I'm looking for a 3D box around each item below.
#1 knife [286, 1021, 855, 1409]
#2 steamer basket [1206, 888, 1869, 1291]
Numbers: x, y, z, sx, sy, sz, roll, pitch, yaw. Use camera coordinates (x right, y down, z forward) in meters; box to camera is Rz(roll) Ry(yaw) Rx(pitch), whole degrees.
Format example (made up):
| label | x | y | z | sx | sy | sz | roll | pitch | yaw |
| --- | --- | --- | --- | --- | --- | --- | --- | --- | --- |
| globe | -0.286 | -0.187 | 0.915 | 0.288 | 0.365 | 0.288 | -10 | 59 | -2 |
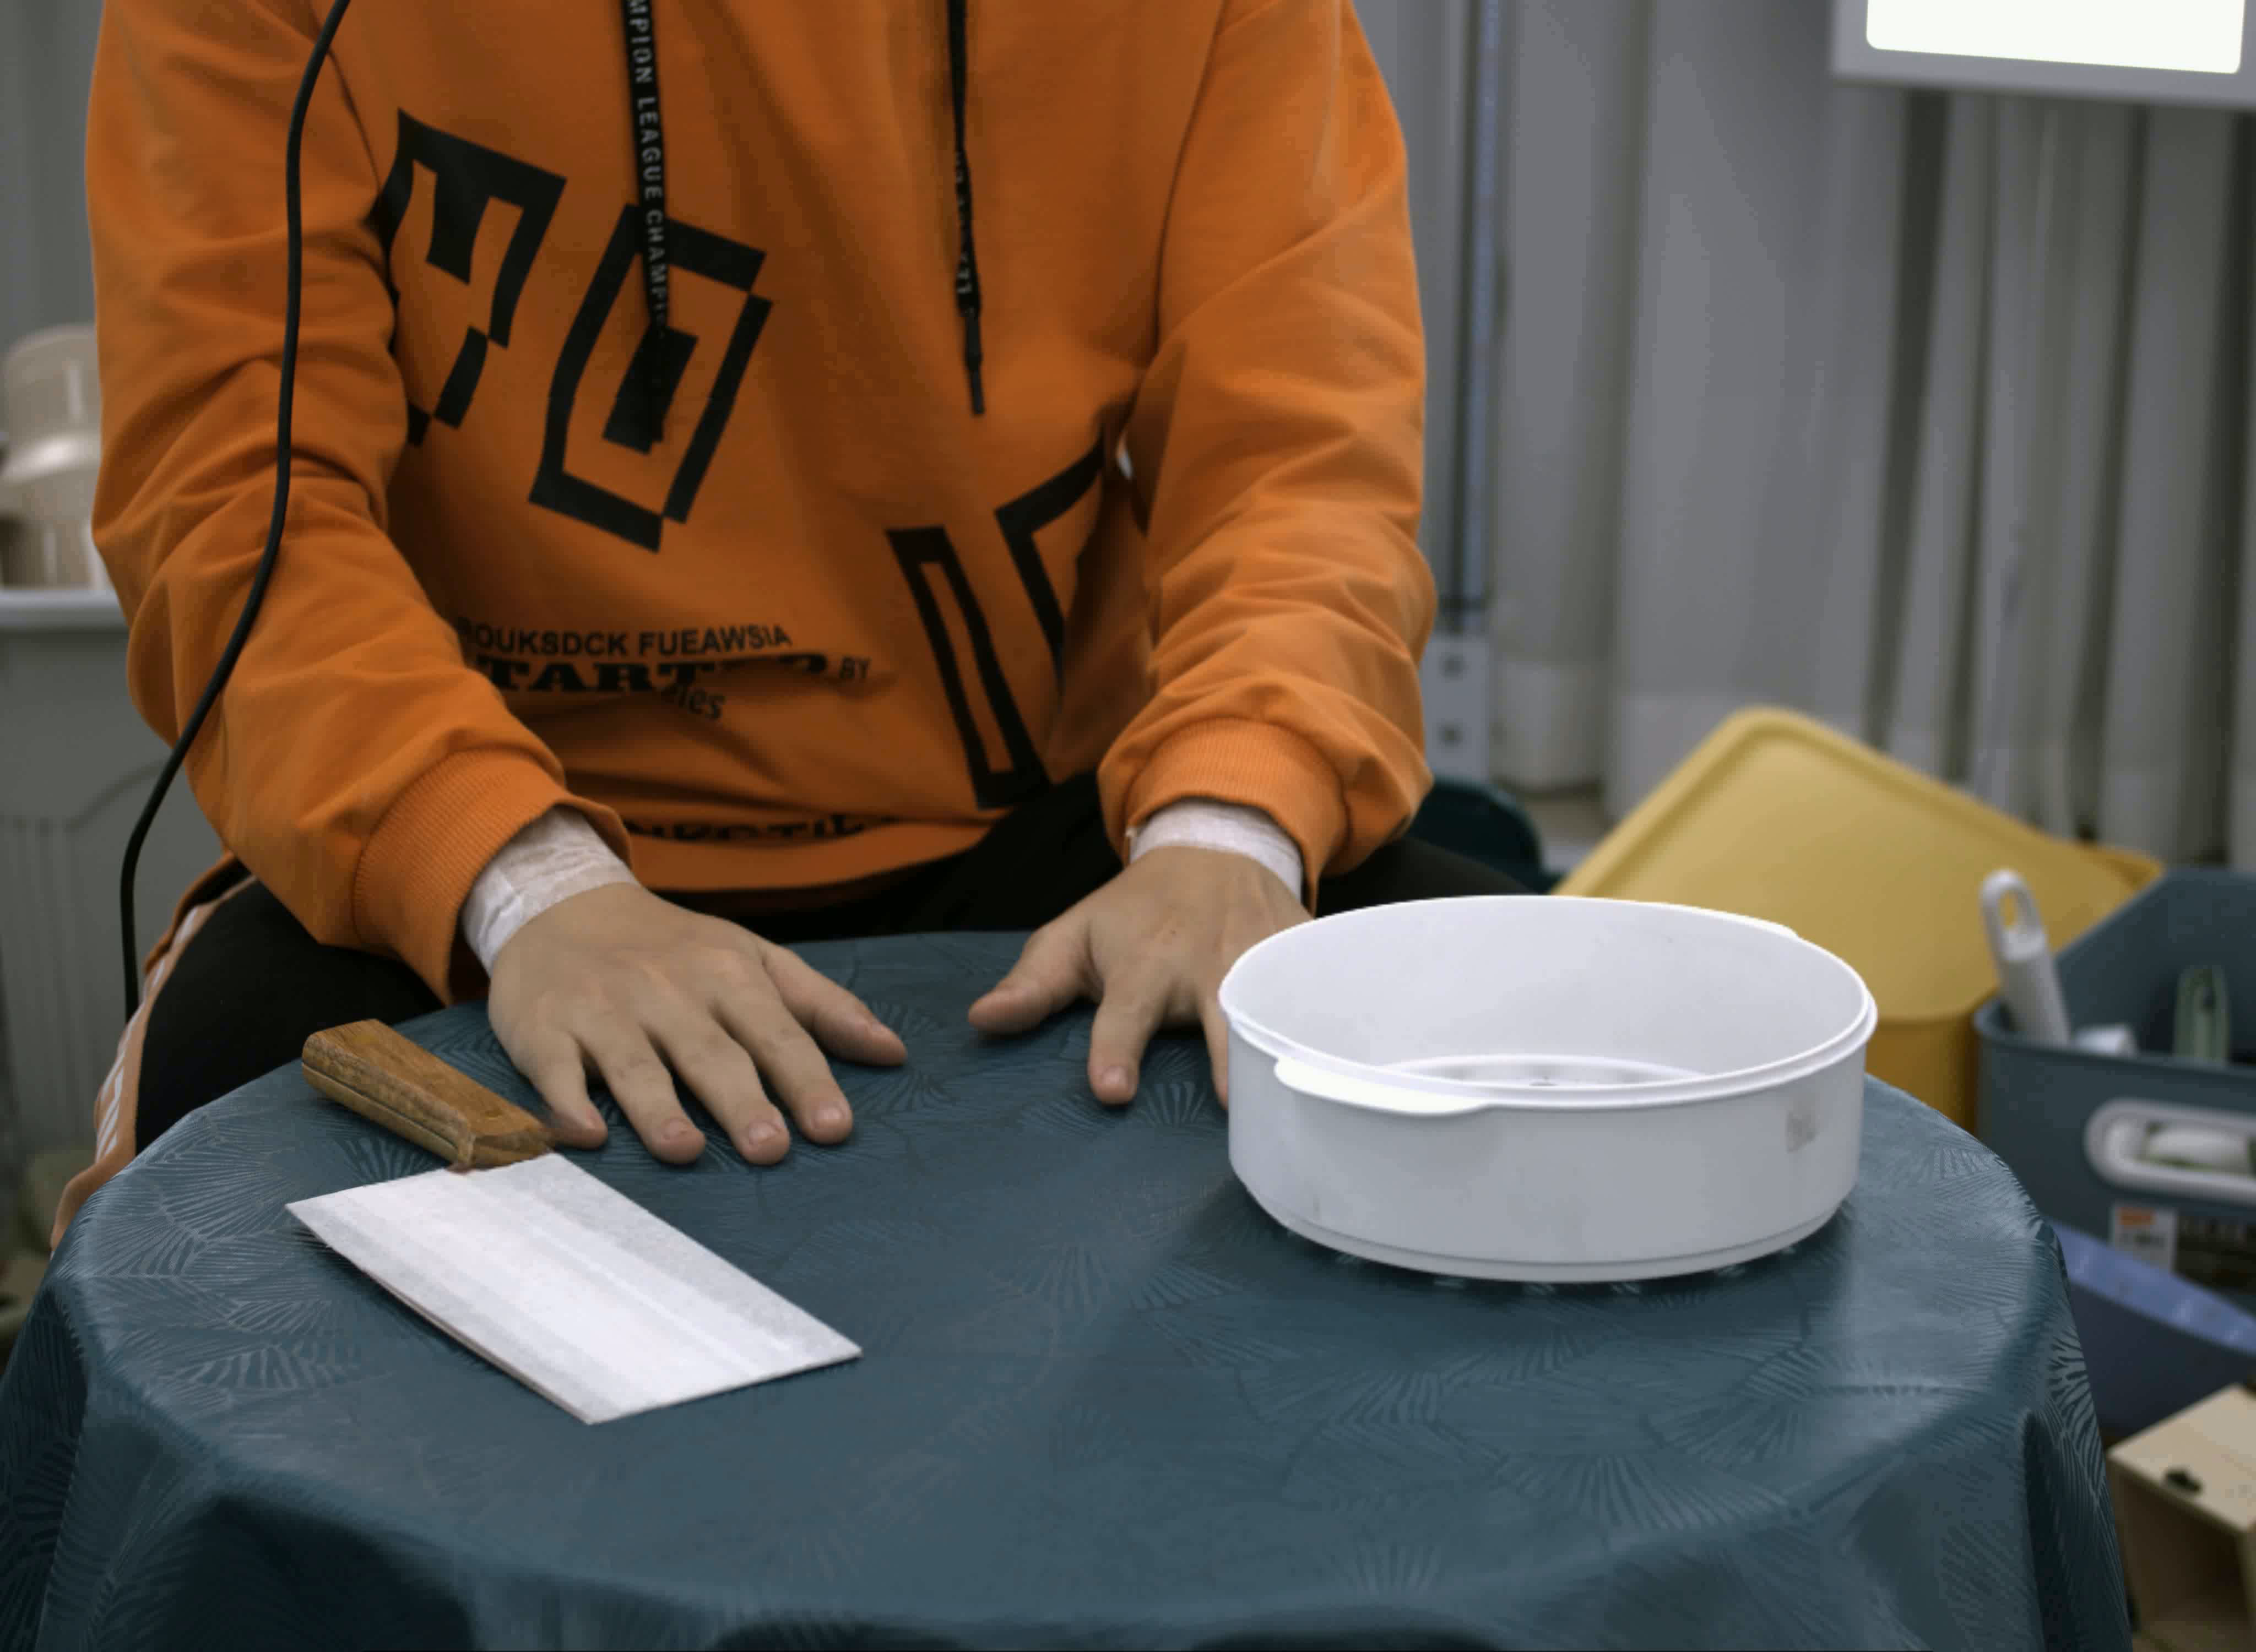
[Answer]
| label | x | y | z | sx | sy | sz | roll | pitch | yaw |
| --- | --- | --- | --- | --- | --- | --- | --- | --- | --- |
| knife | -0.195 | 0.116 | 1.576 | 0.093 | 0.021 | 0.301 | -12 | 22 | -33 |
| steamer basket | 0.124 | 0.080 | 1.609 | 0.199 | 0.070 | 0.231 | 10 | 21 | 32 |
